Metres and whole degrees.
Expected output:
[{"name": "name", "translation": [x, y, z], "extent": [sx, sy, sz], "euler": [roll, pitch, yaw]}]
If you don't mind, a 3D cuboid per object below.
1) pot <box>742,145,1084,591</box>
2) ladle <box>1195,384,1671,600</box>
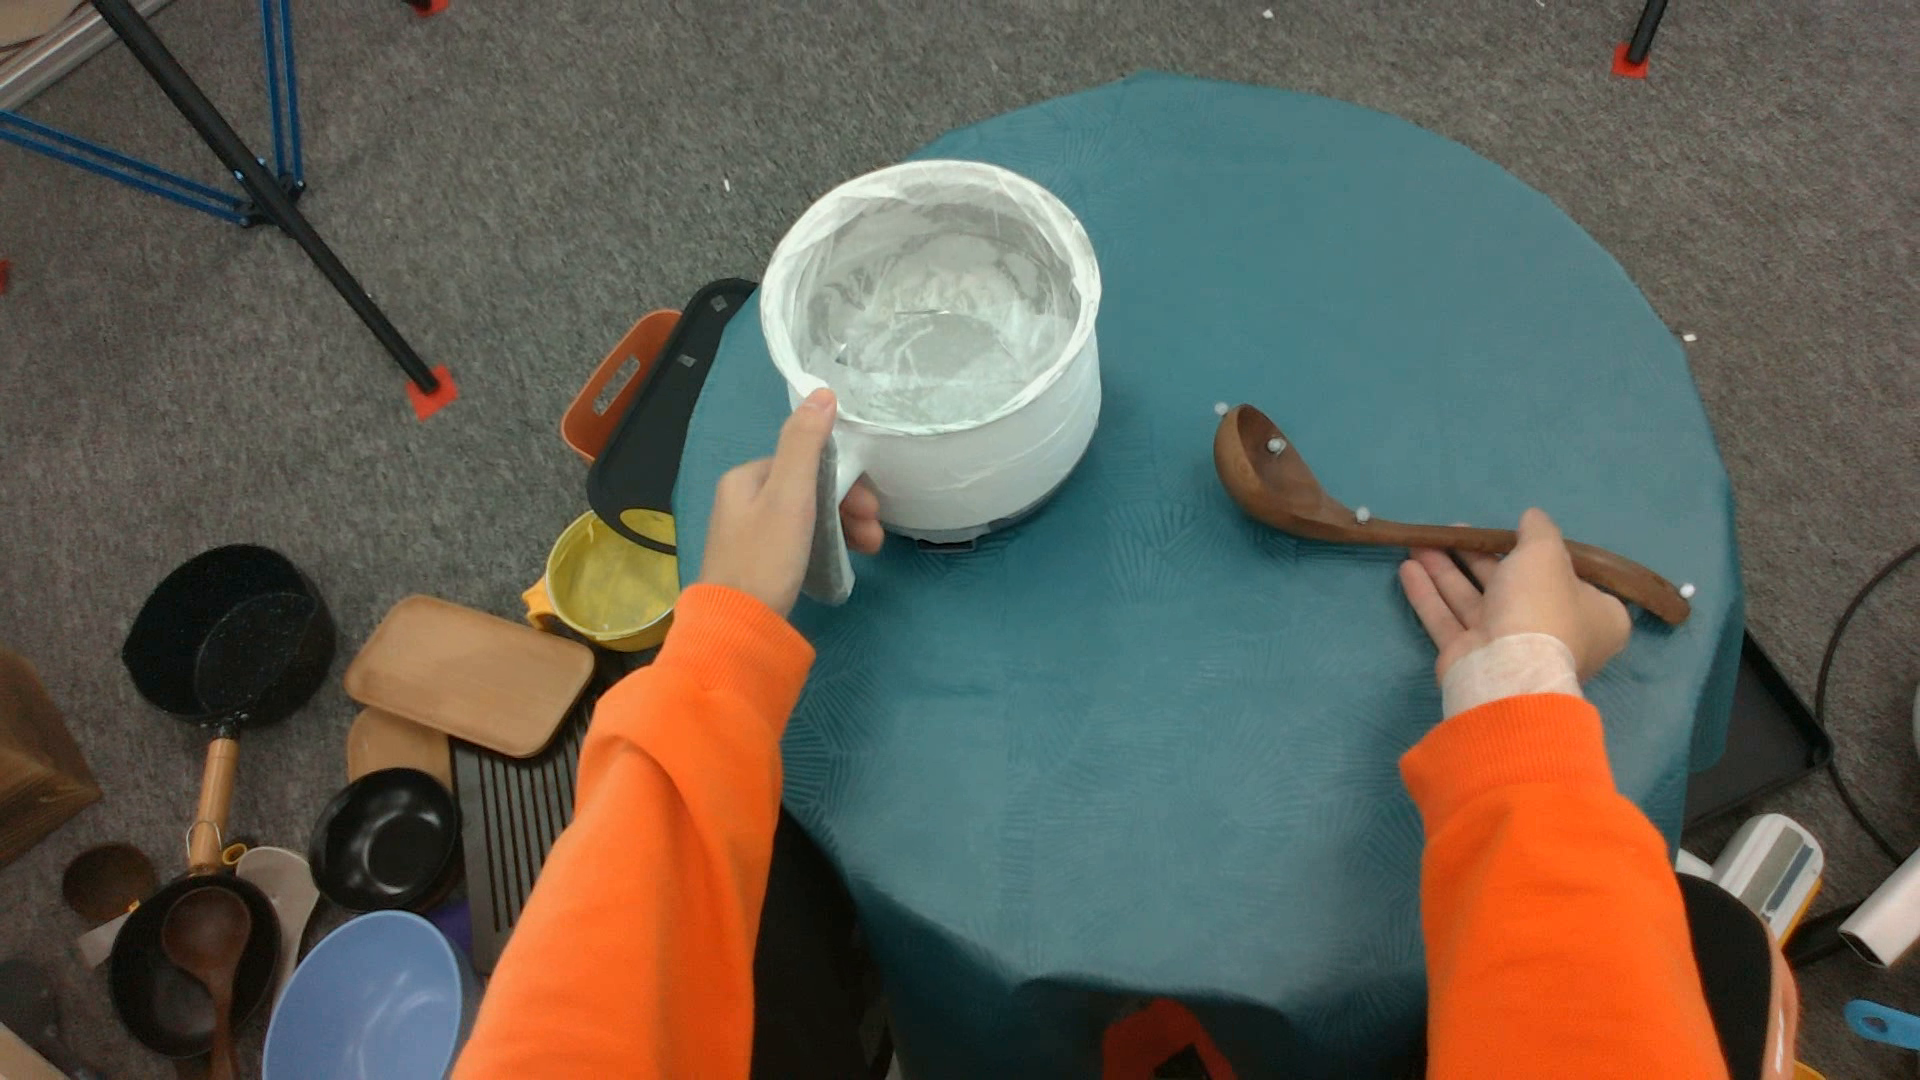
[{"name": "pot", "translation": [-0.033, -0.086, 0.755], "extent": [0.178, 0.136, 0.234], "euler": [24, 67, 17]}, {"name": "ladle", "translation": [0.253, -0.026, 0.740], "extent": [0.260, 0.065, 0.077], "euler": [14, 37, 13]}]
